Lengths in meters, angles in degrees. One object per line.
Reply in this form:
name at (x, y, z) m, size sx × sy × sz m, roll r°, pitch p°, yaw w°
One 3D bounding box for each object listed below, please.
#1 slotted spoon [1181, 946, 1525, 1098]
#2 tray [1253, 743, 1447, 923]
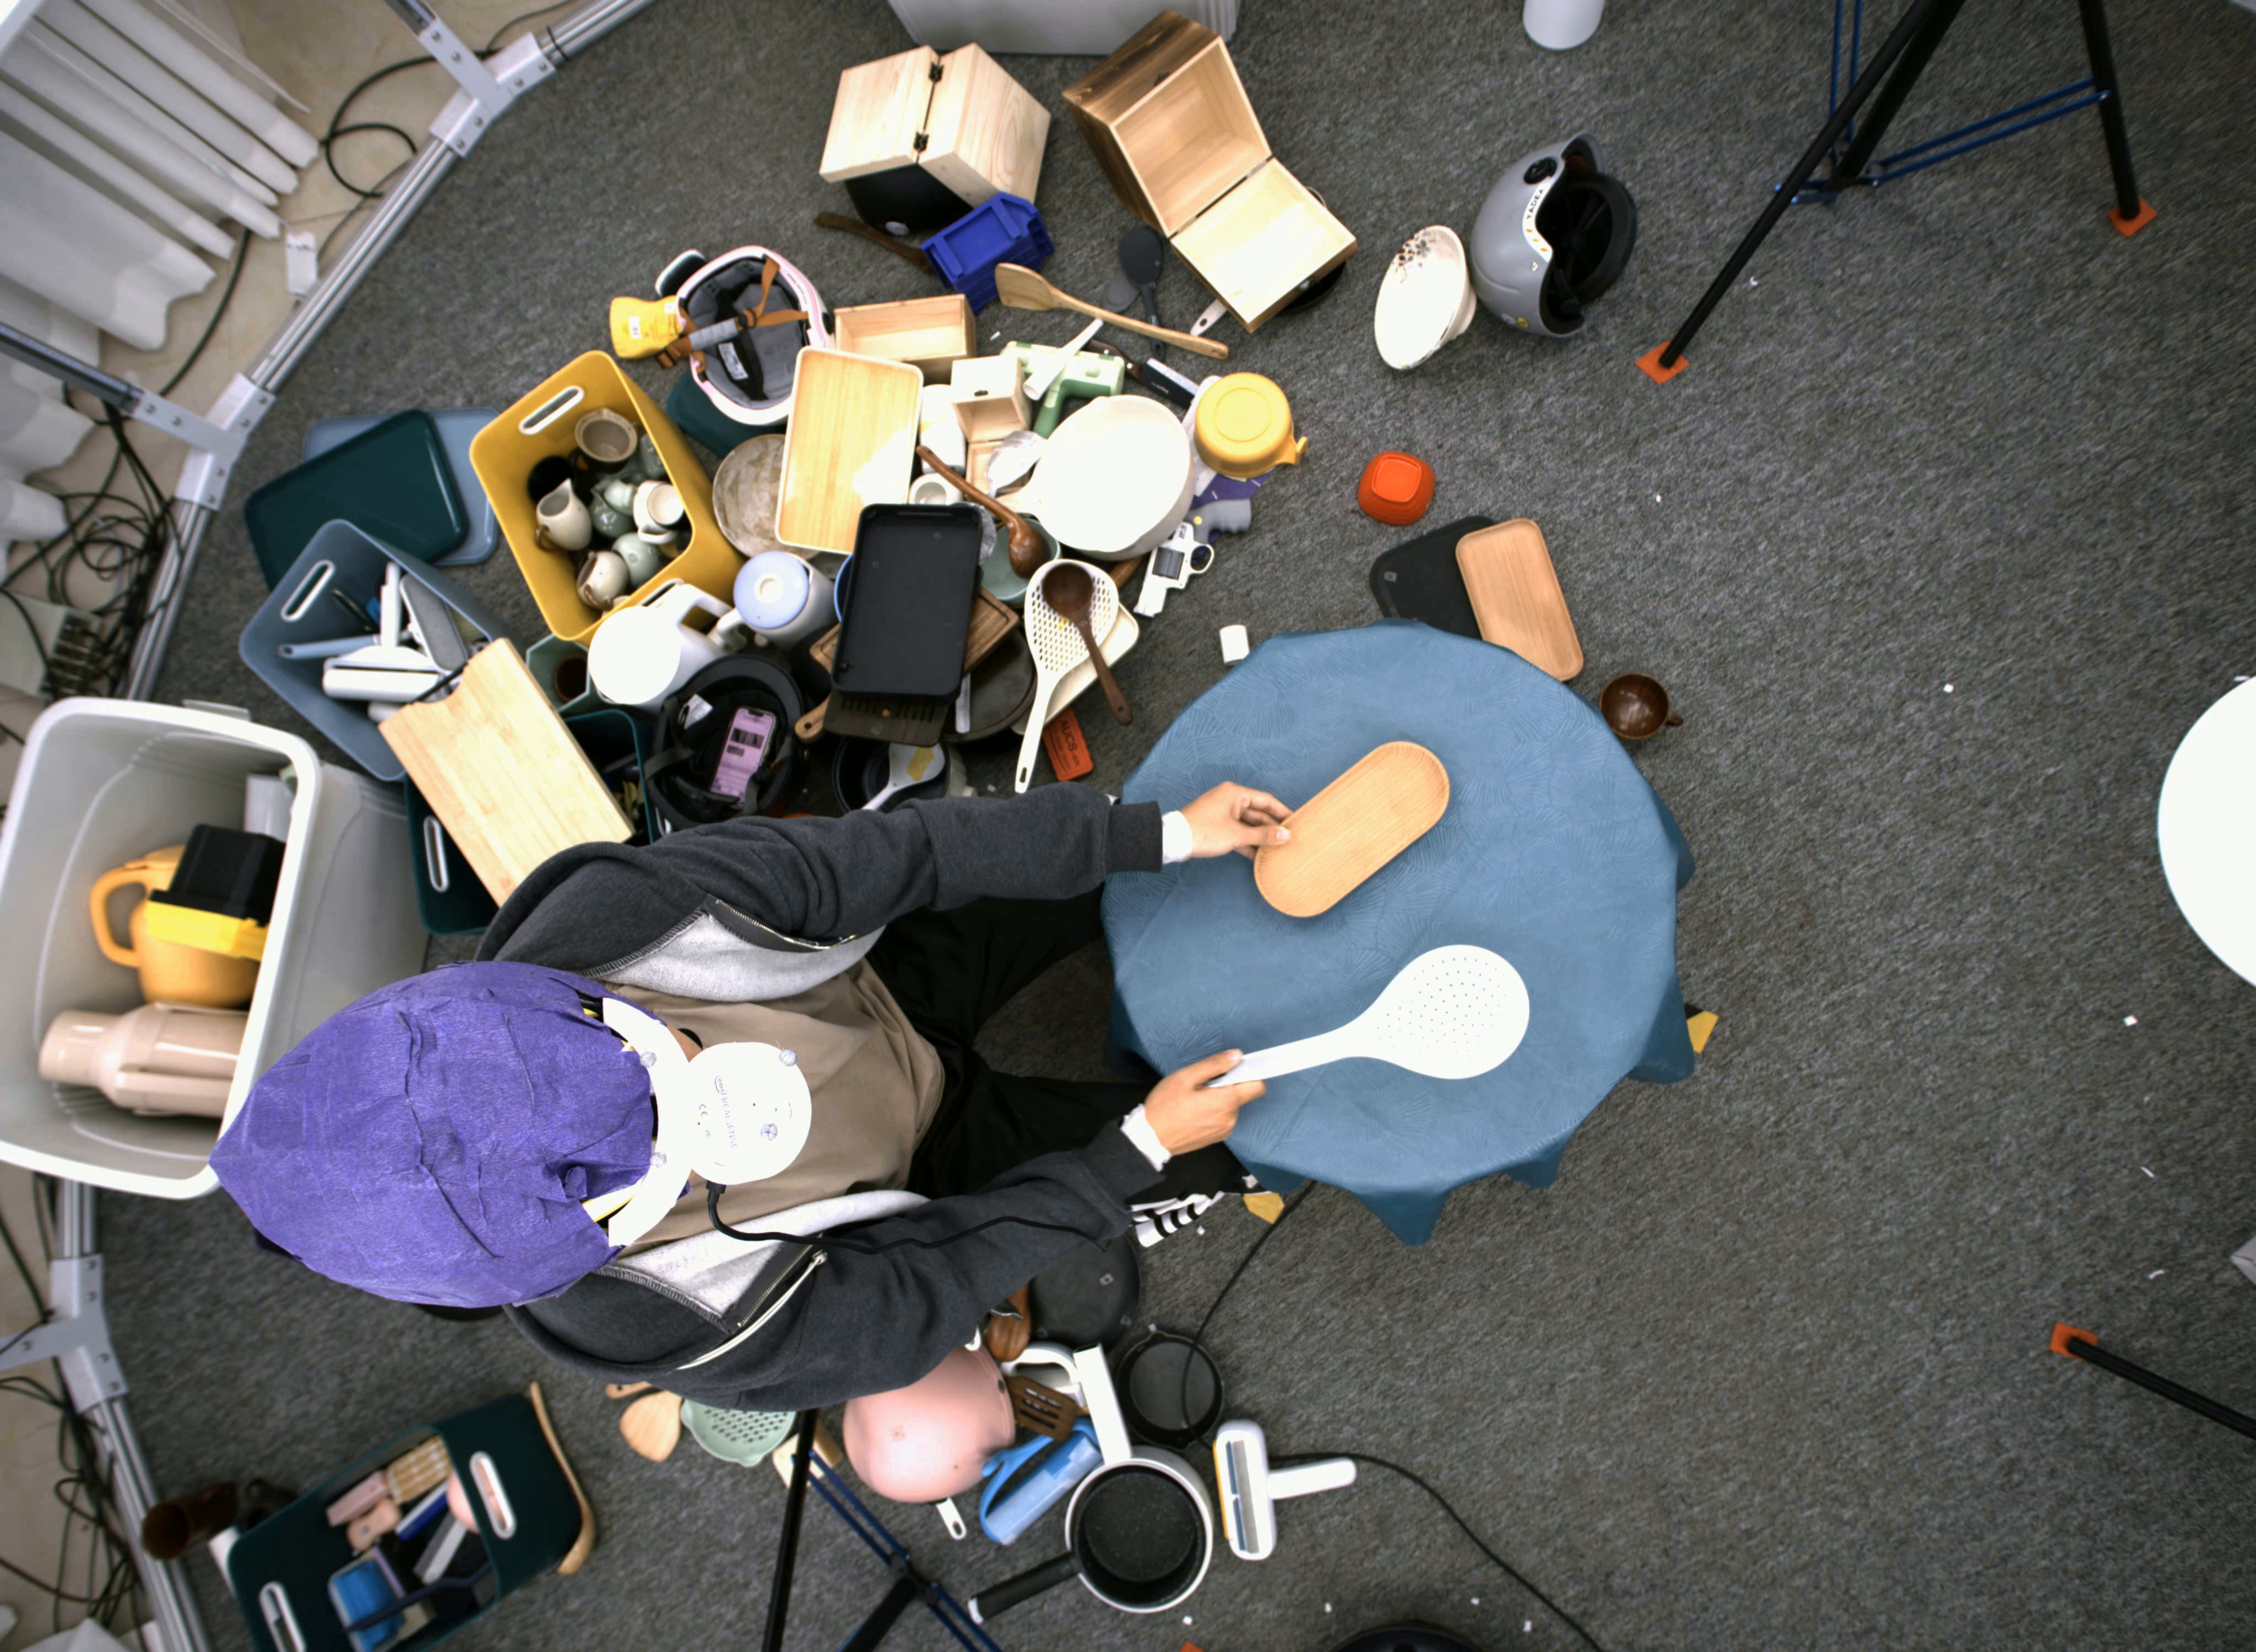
slotted spoon at (0.216, 0.212, 1.361) m, size 0.352 × 0.046 × 0.133 m, roll -16°, pitch 56°, yaw 13°
tray at (0.230, 0.006, 1.430) m, size 0.232 × 0.020 × 0.101 m, roll -41°, pitch 89°, yaw 4°
